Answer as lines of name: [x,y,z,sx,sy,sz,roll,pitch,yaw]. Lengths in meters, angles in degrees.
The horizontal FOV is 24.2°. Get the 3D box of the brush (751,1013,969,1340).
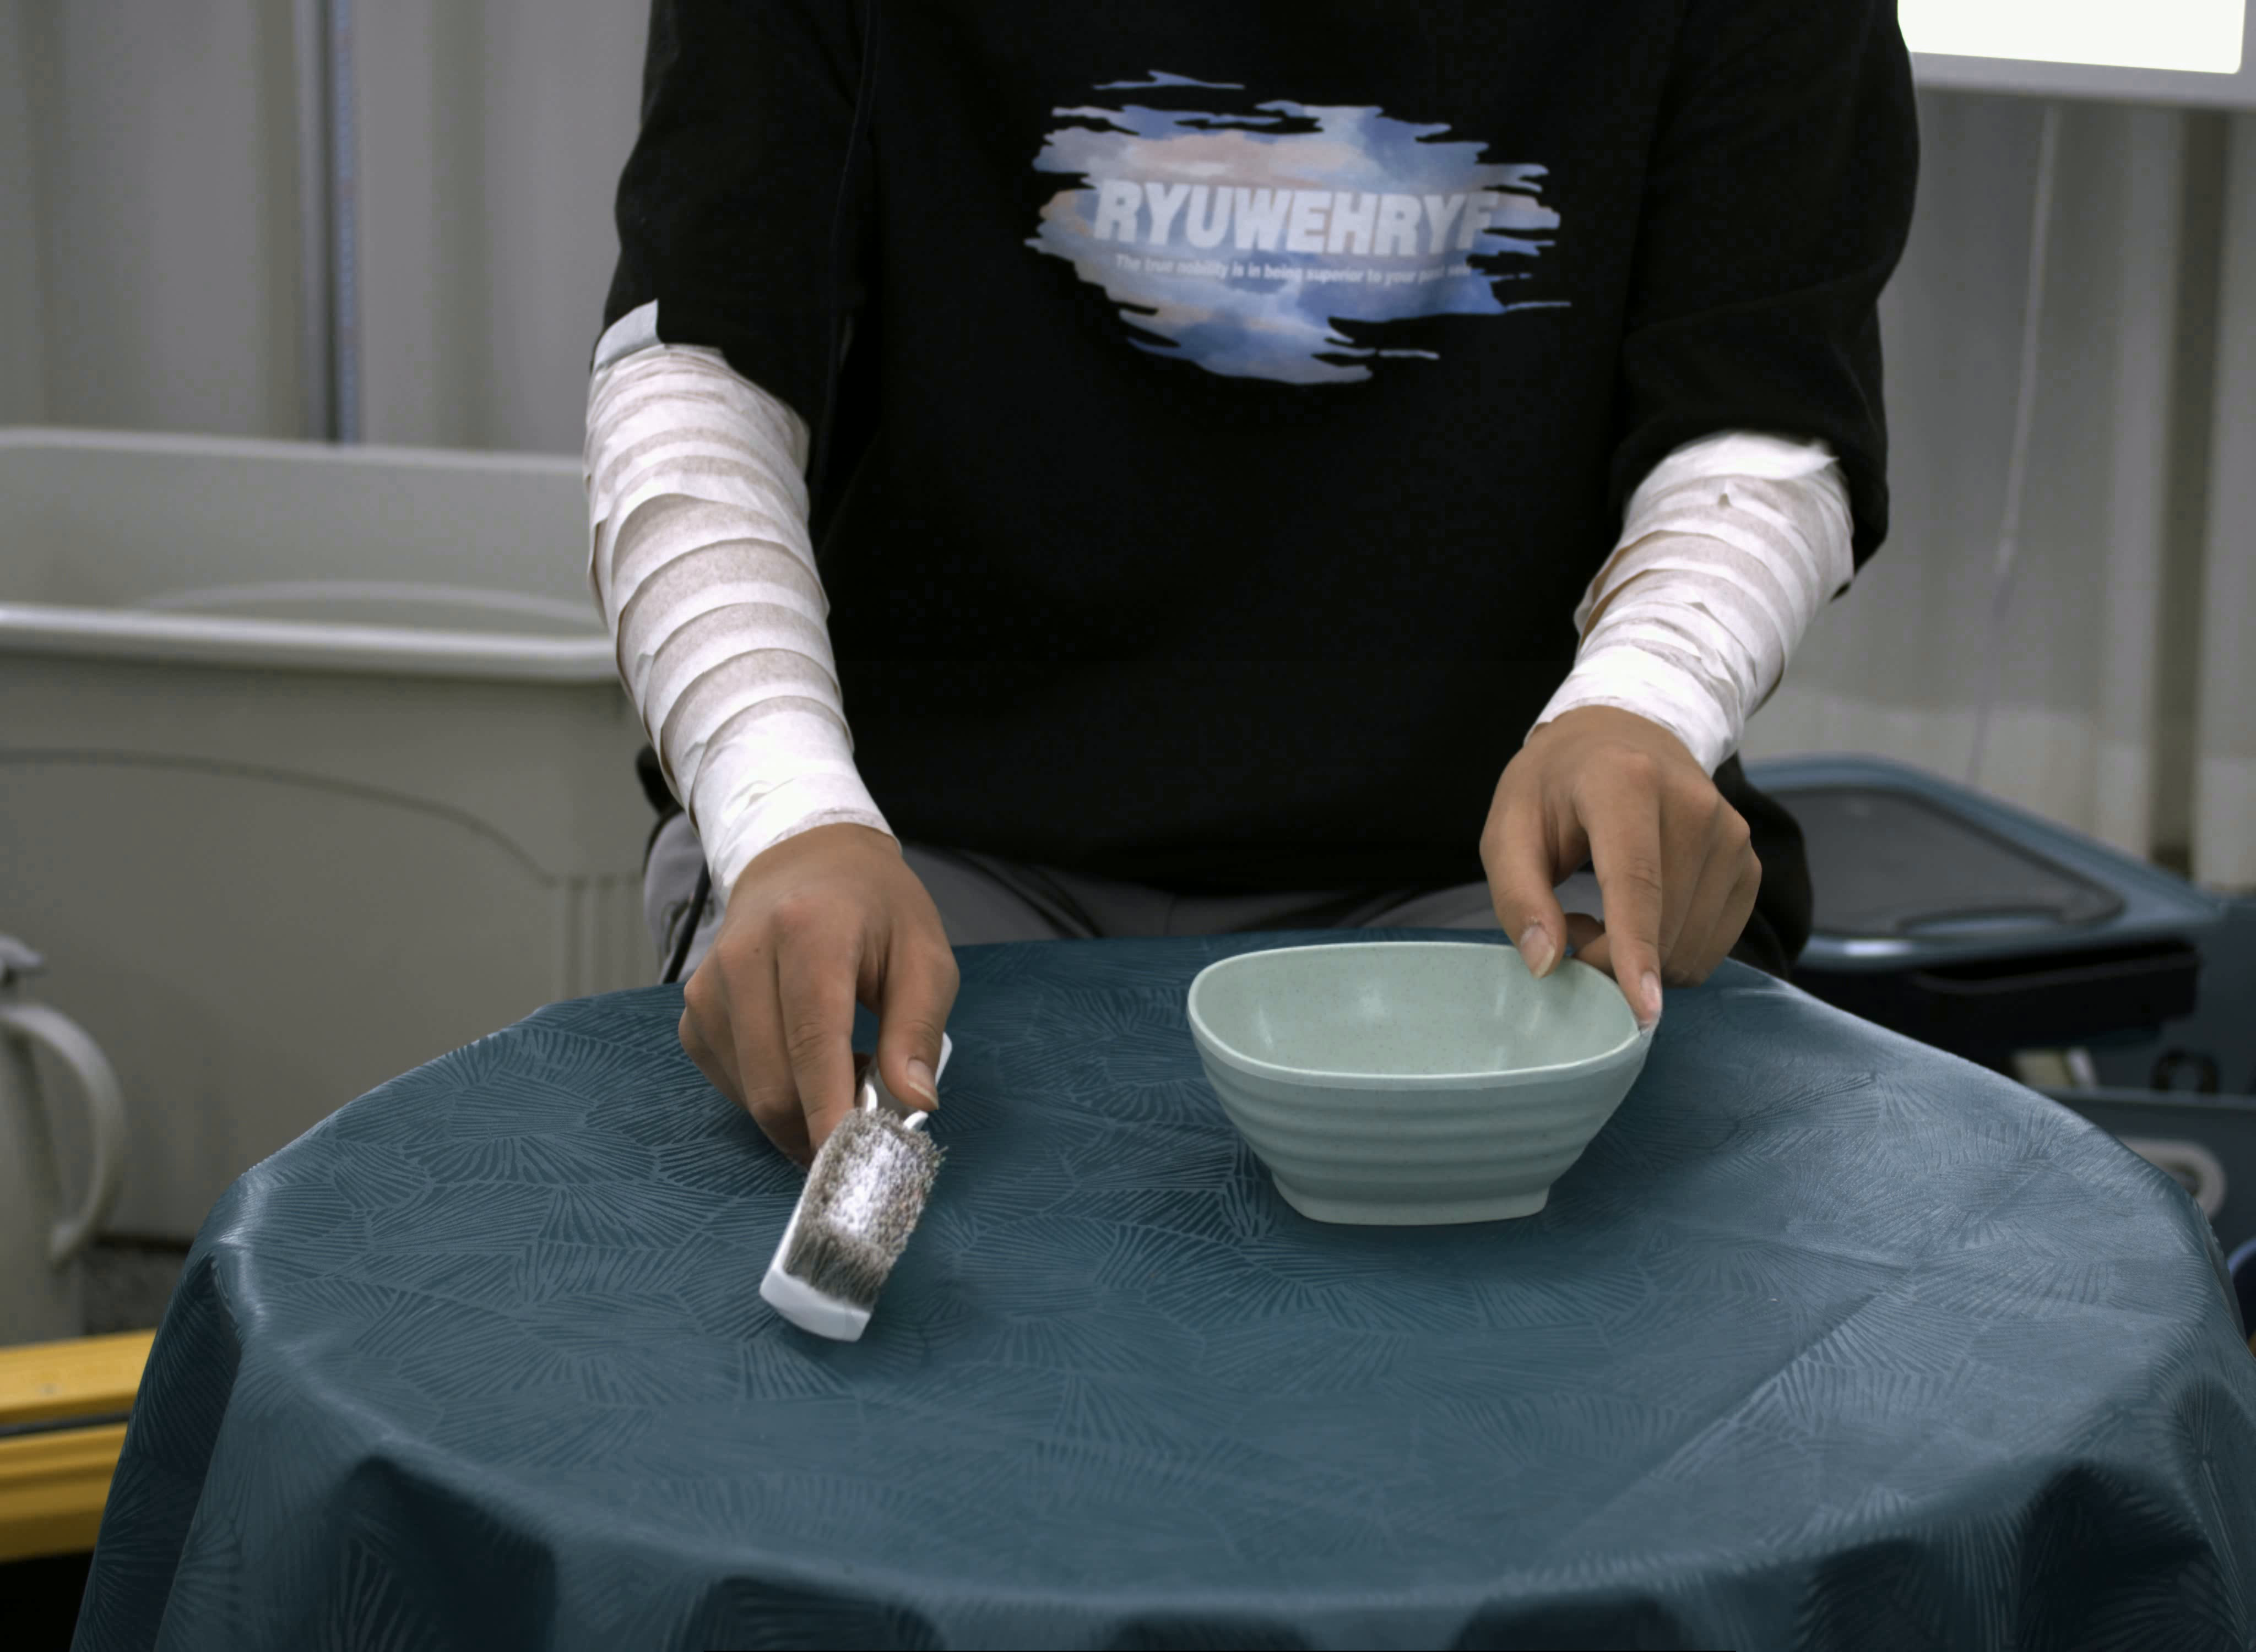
brush: [-0.069,0.087,1.587,0.034,0.050,0.243,28,20,-1]

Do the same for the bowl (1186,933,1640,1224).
bowl: [0.086,0.081,1.629,0.151,0.059,0.150,3,17,0]
